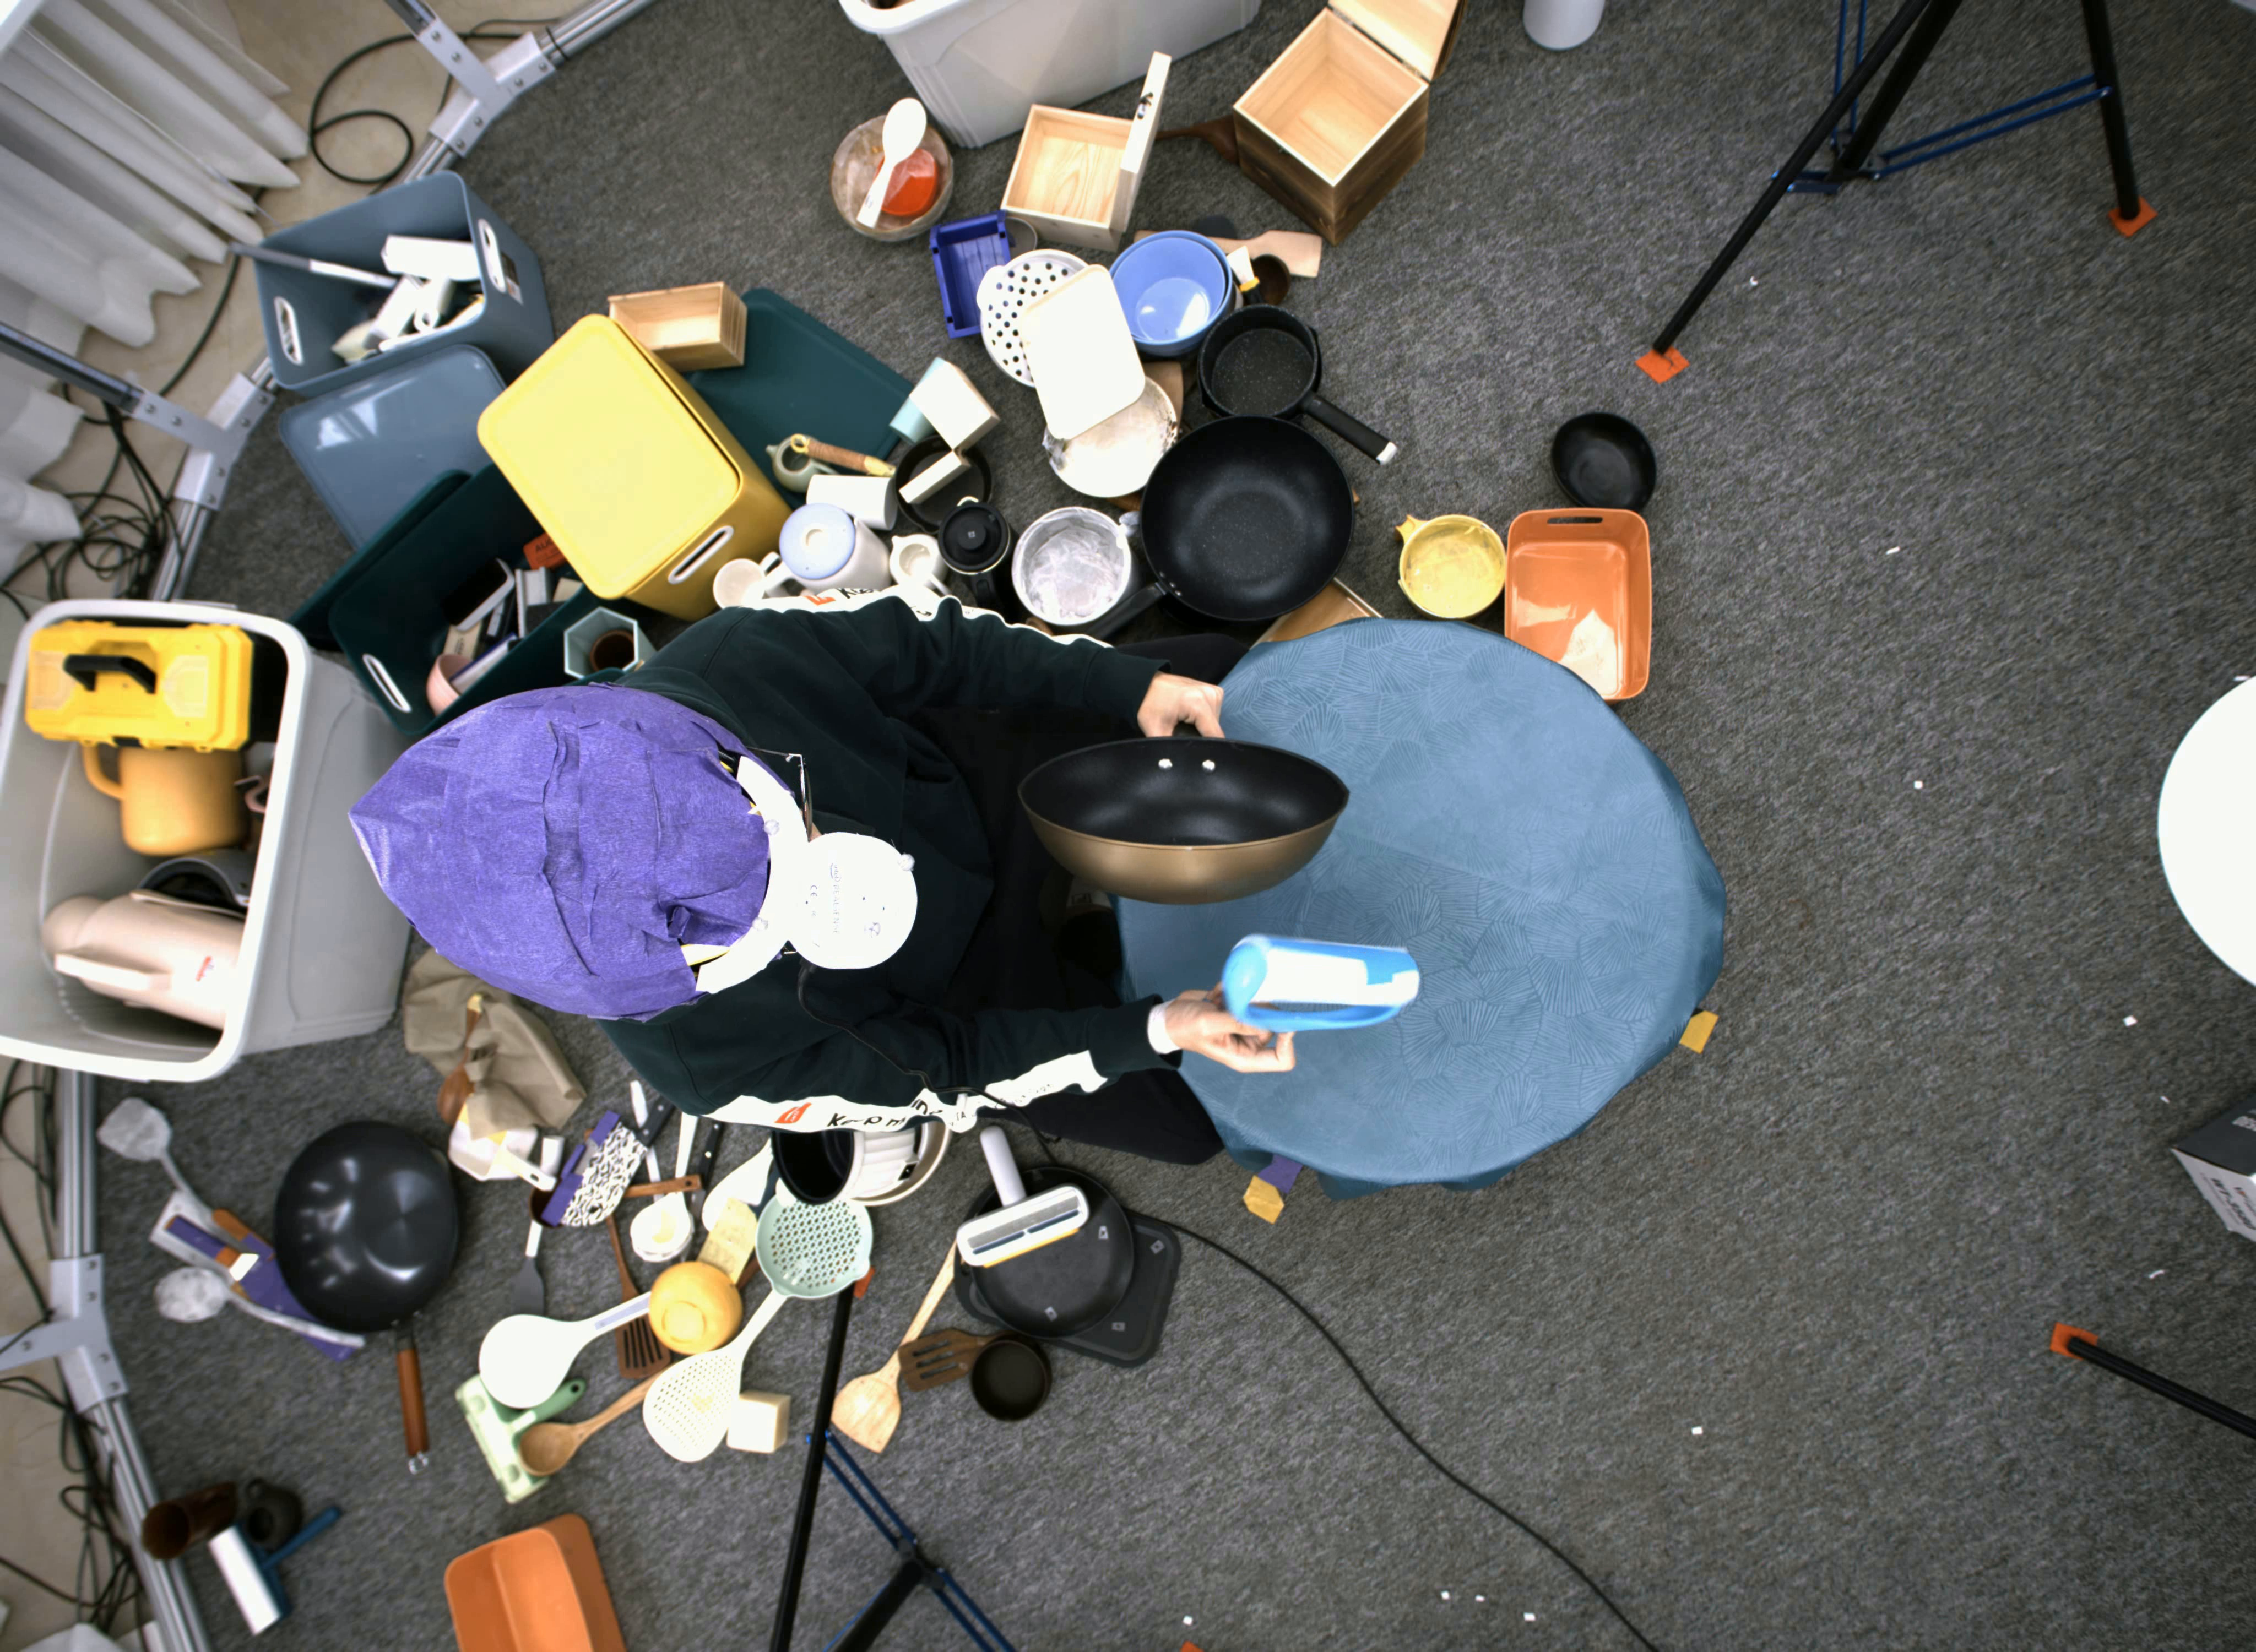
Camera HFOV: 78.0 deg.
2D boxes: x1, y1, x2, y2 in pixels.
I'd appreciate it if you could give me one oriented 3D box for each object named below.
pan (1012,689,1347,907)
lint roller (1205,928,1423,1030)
[{"bbox_3d":[0.051,-0.031,1.288,0.289,0.454,0.088,2,112,4],"label":"pan"},{"bbox_3d":[0.142,0.151,1.246,0.184,0.228,0.067,-37,57,42],"label":"lint roller"}]
